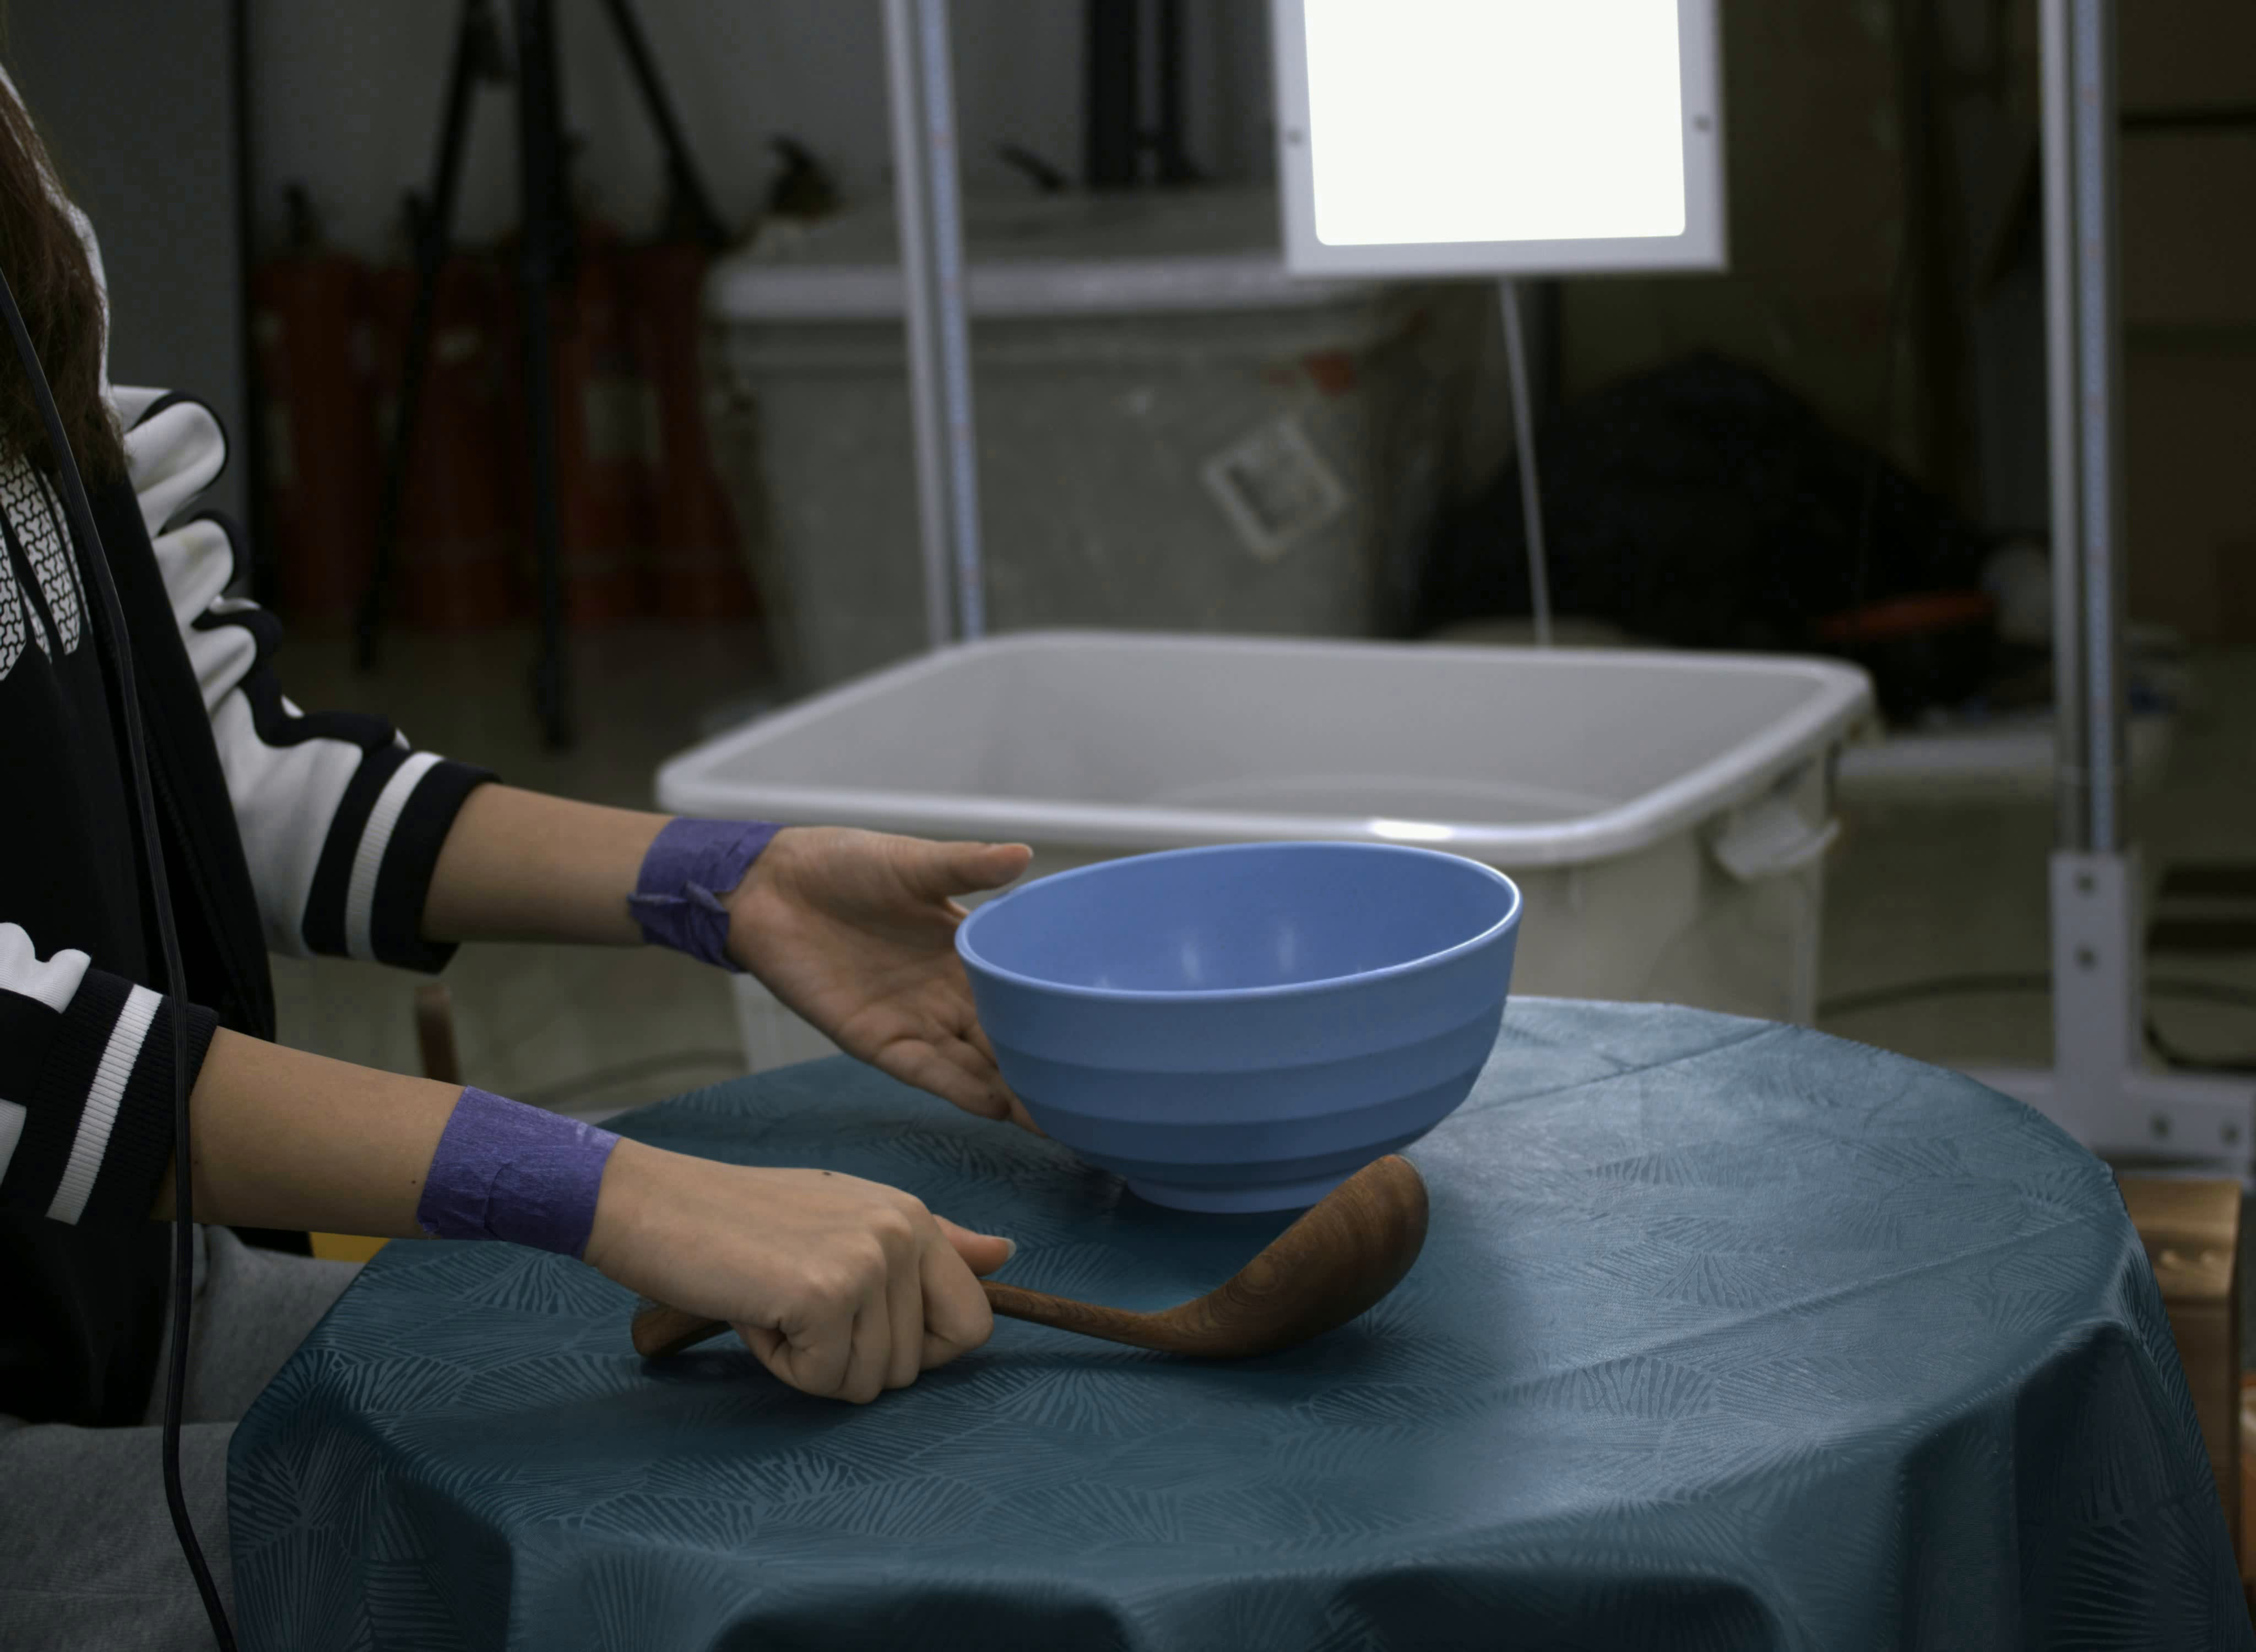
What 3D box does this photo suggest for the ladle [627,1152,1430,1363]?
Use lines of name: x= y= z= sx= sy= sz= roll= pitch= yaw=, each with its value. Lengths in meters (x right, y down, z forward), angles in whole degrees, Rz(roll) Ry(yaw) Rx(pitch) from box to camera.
ladle: x=-0.033 y=0.137 z=1.740 sx=0.263 sy=0.065 sz=0.076 roll=-1 pitch=-13 yaw=16

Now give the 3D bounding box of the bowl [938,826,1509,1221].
bowl: x=0.034 y=0.075 z=1.900 sx=0.196 sy=0.096 sz=0.196 roll=-3 pitch=19 yaw=0
